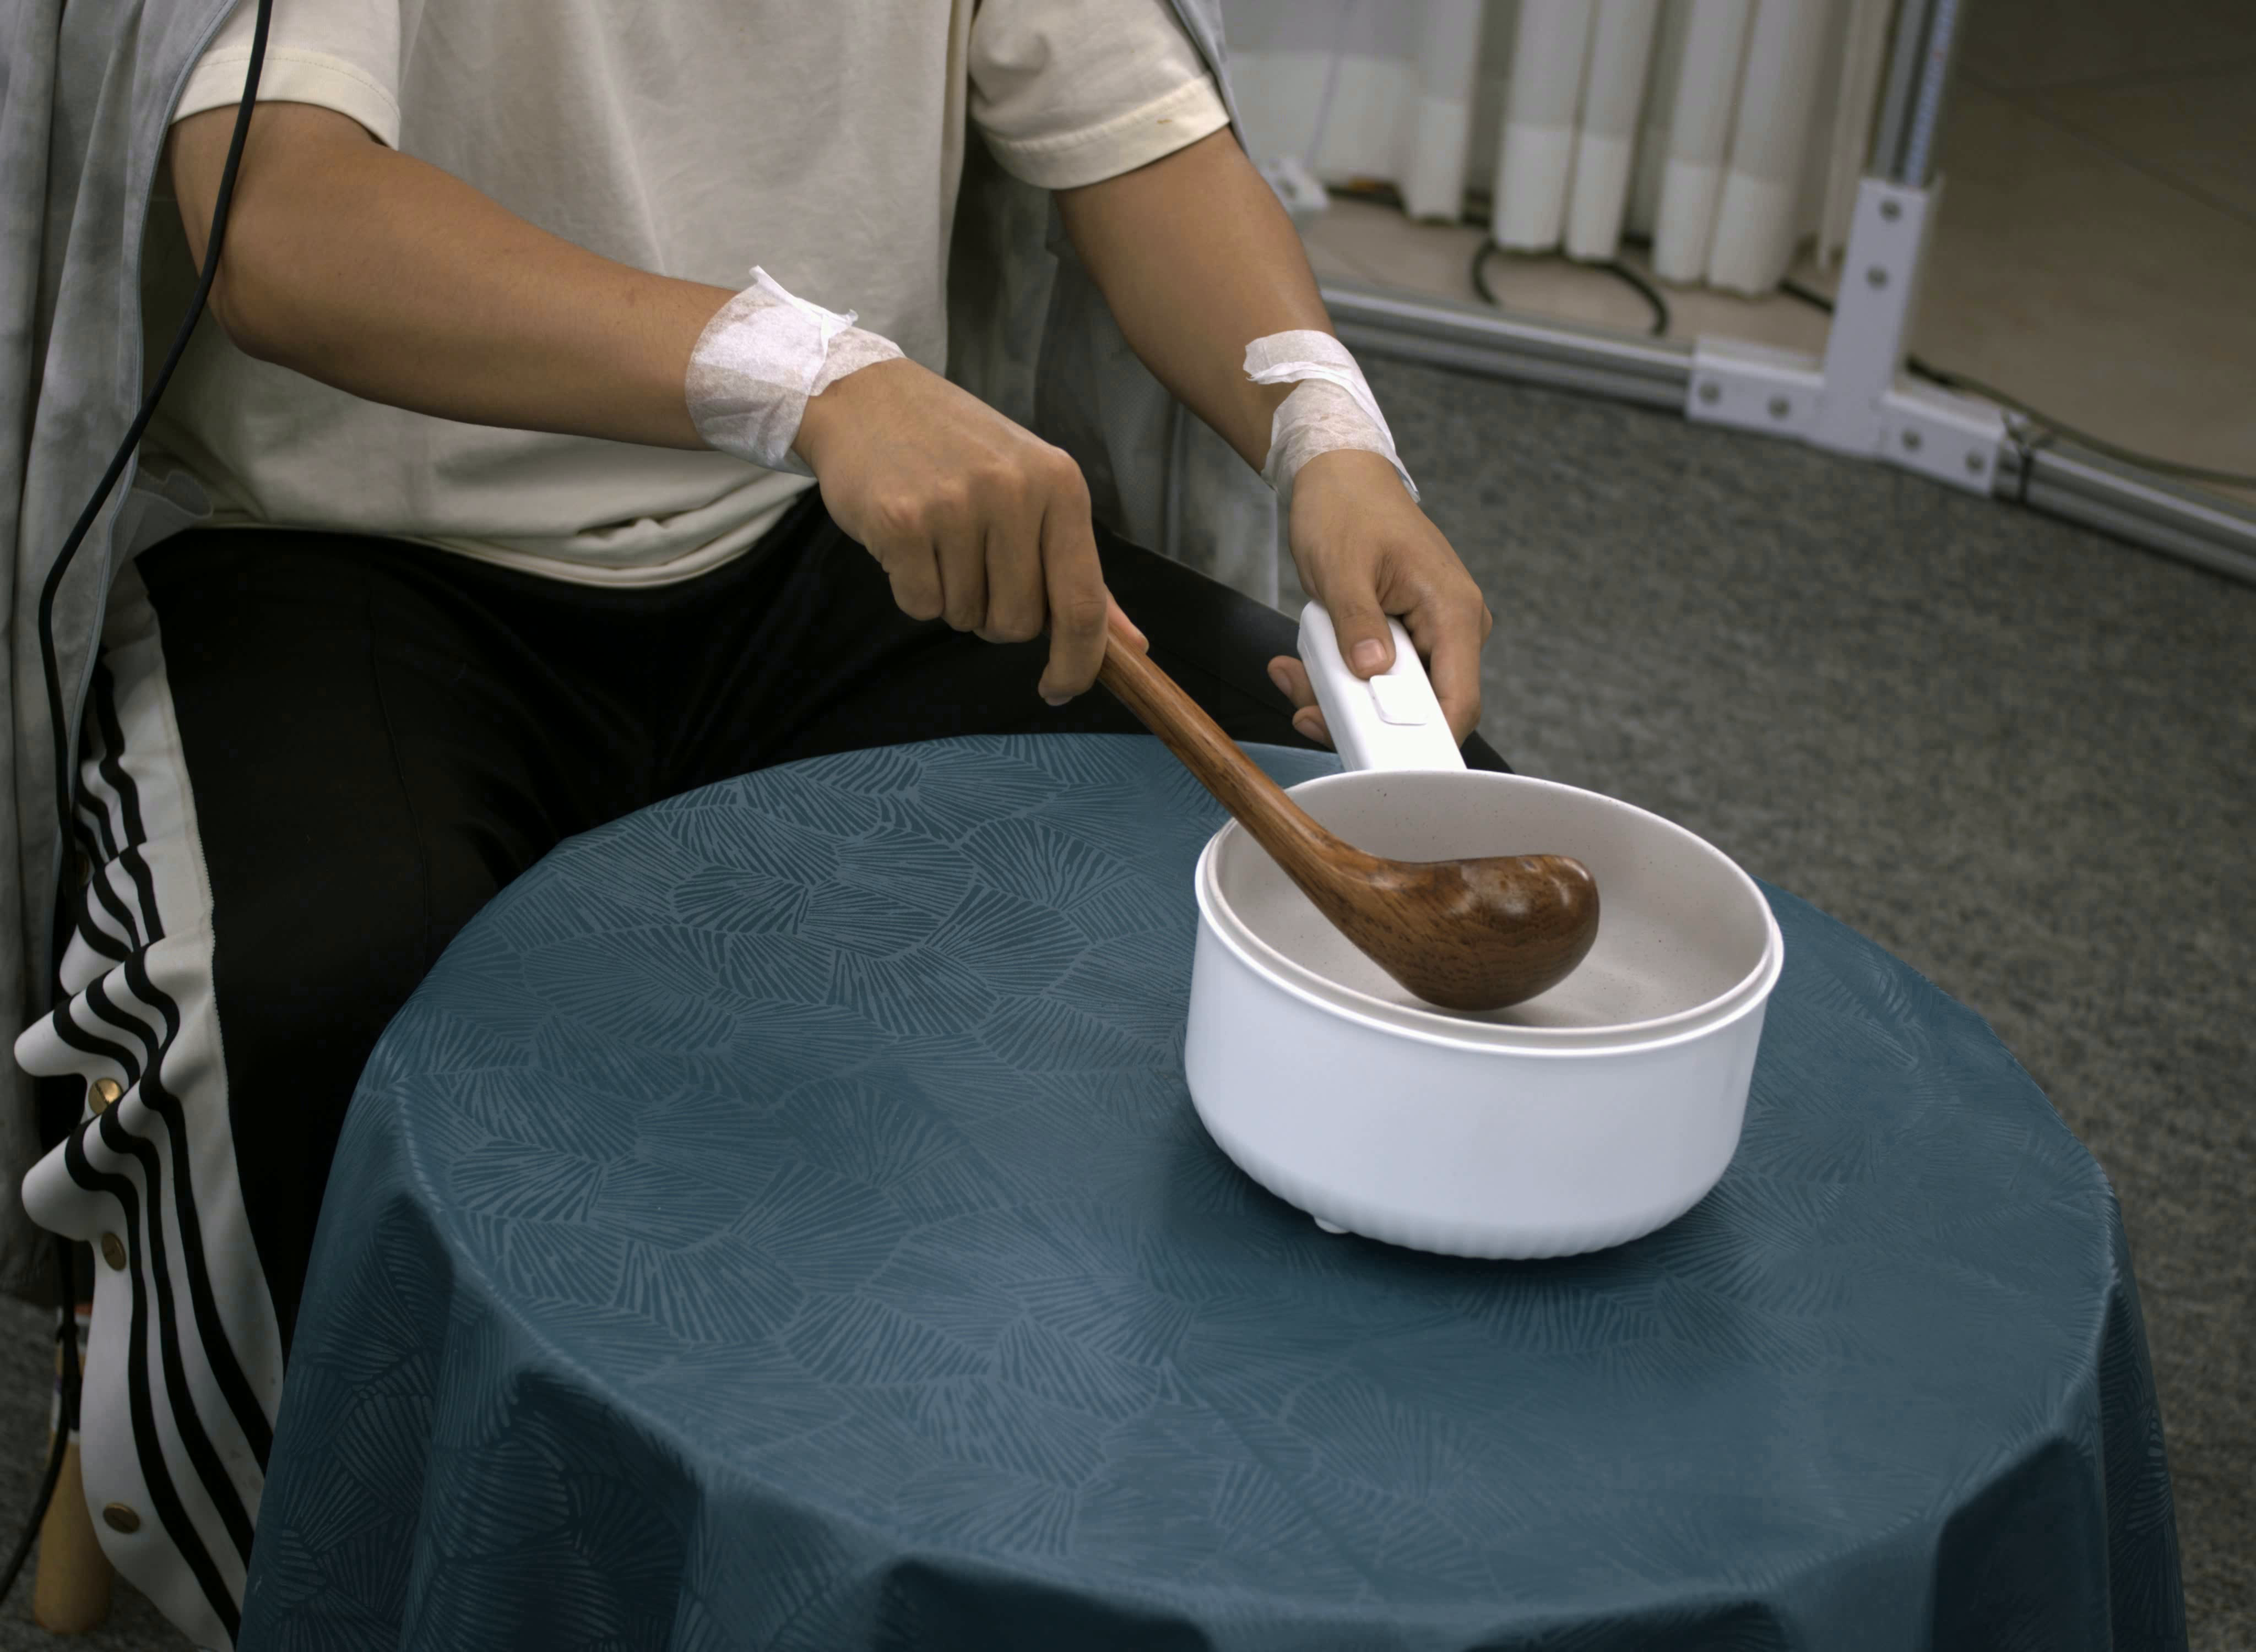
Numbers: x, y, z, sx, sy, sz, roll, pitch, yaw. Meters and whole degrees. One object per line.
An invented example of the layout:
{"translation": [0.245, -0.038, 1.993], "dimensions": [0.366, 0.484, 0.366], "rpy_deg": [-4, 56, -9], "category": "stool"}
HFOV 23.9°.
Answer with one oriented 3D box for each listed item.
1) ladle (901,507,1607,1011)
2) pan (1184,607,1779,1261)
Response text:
{"translation": [0.046, -0.034, 1.844], "dimensions": [0.275, 0.082, 0.076], "rpy_deg": [40, 41, 11], "category": "ladle"}
{"translation": [0.107, 0.035, 1.898], "dimensions": [0.200, 0.102, 0.357], "rpy_deg": [1, 25, -9], "category": "pan"}
